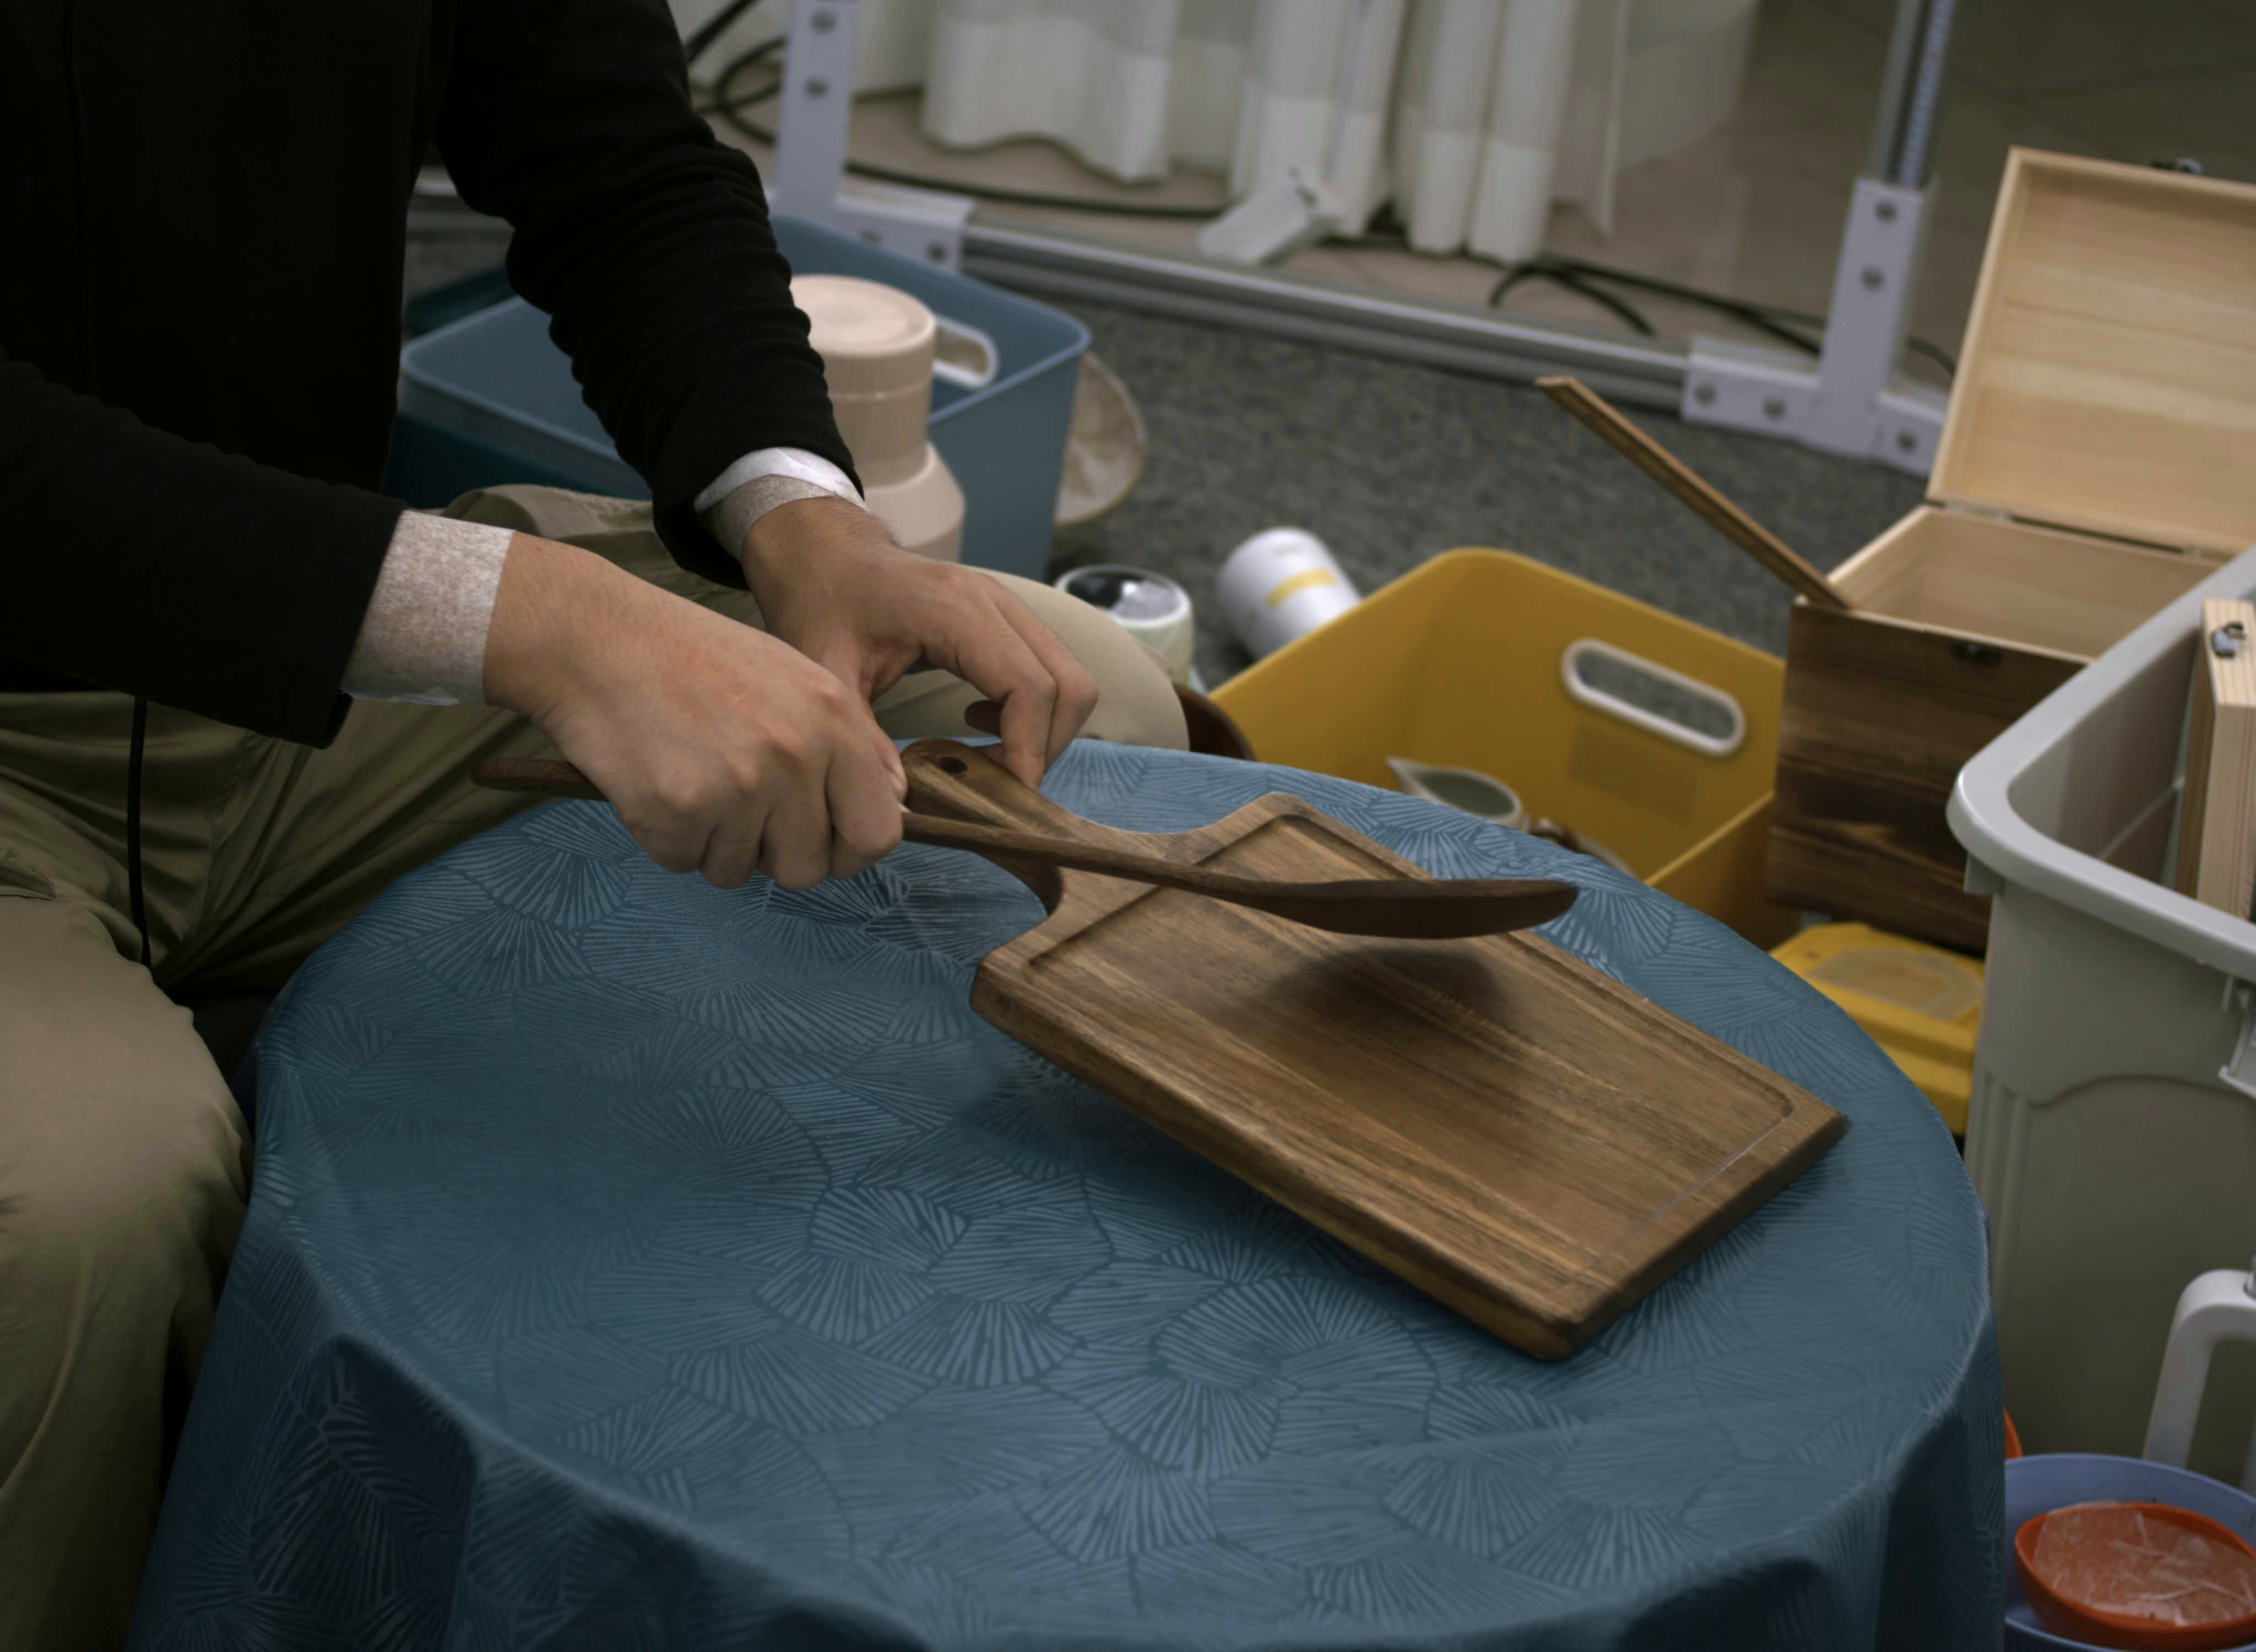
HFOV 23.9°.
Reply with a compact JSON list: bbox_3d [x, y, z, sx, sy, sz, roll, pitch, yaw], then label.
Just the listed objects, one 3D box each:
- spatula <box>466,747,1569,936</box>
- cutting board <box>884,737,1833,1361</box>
[{"bbox_3d":[-0.036,0.006,1.819,0.383,0.016,0.096,9,-12,-14],"label":"spatula"},{"bbox_3d":[0.057,0.057,1.868,0.354,0.023,0.200,30,34,24],"label":"cutting board"}]
